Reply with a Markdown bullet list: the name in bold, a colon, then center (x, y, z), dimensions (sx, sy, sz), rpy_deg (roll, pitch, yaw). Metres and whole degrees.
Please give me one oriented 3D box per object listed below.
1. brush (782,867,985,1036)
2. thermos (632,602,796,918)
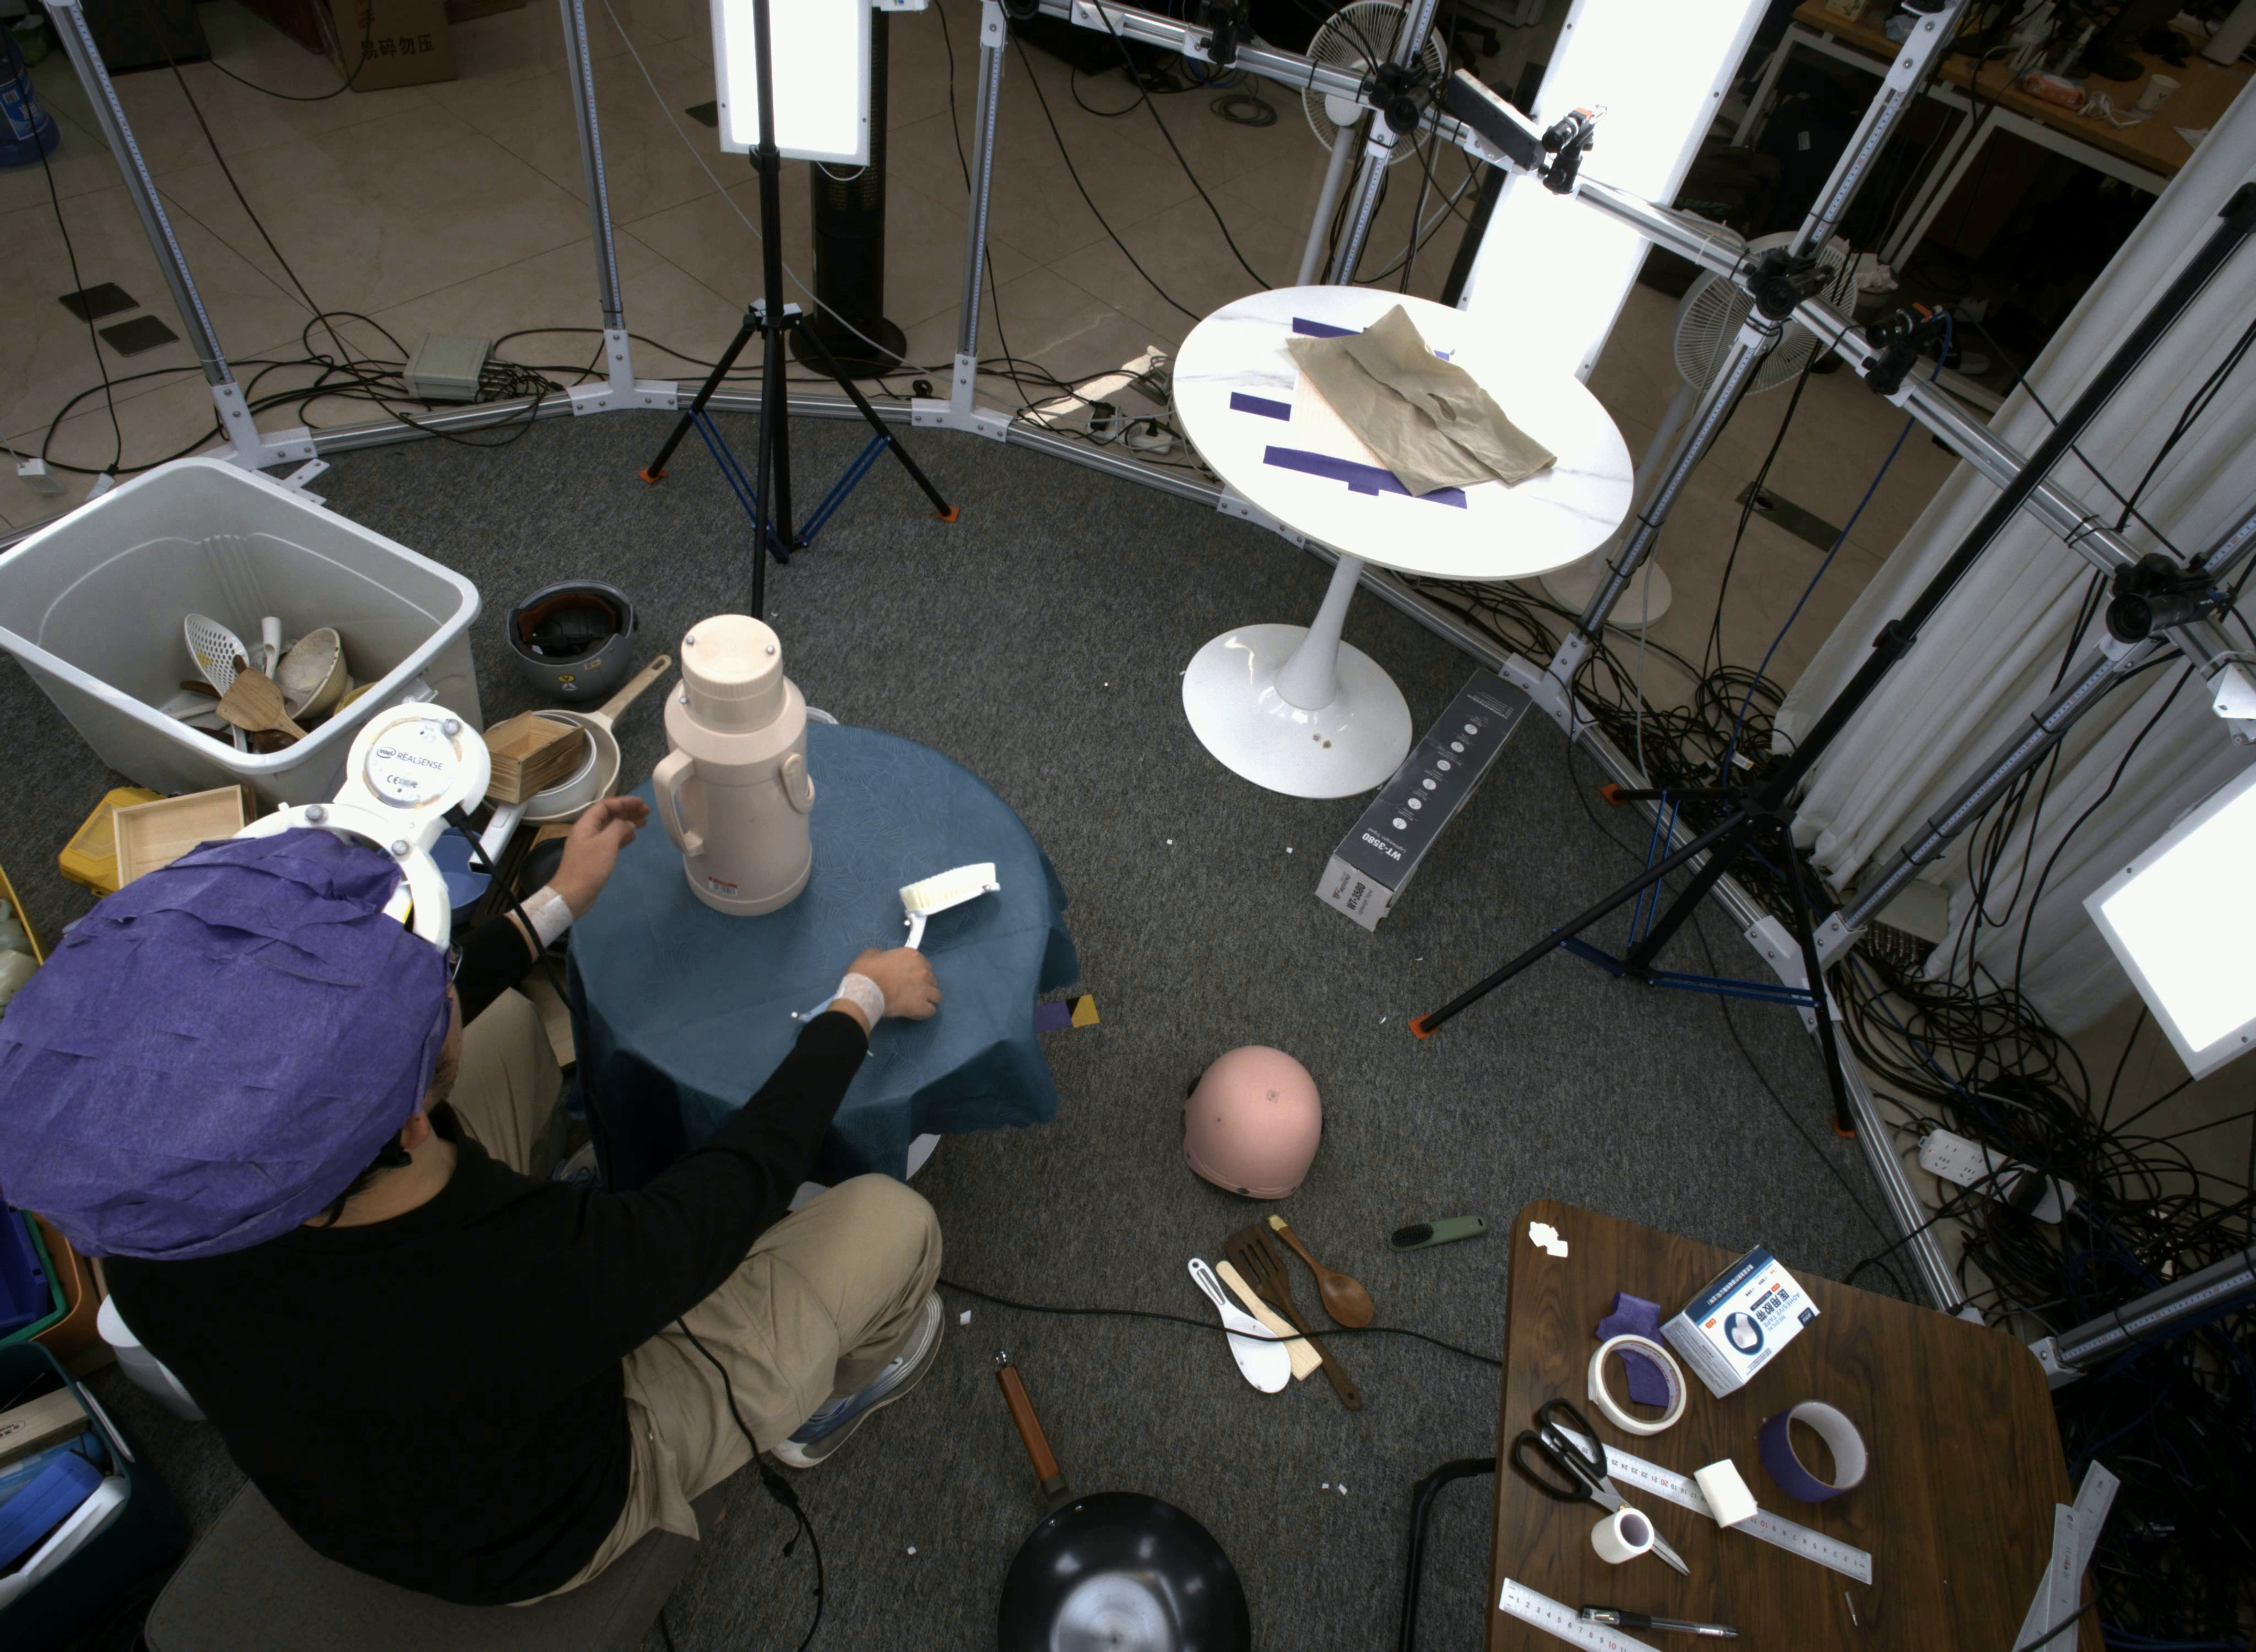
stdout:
- **brush**: center (-0.308, 0.130, 1.603), dimensions (0.083, 0.085, 0.326), rpy_deg (41, 54, 18)
- **thermos**: center (-0.483, -0.065, 1.494), dimensions (0.172, 0.414, 0.206), rpy_deg (32, 52, 12)
